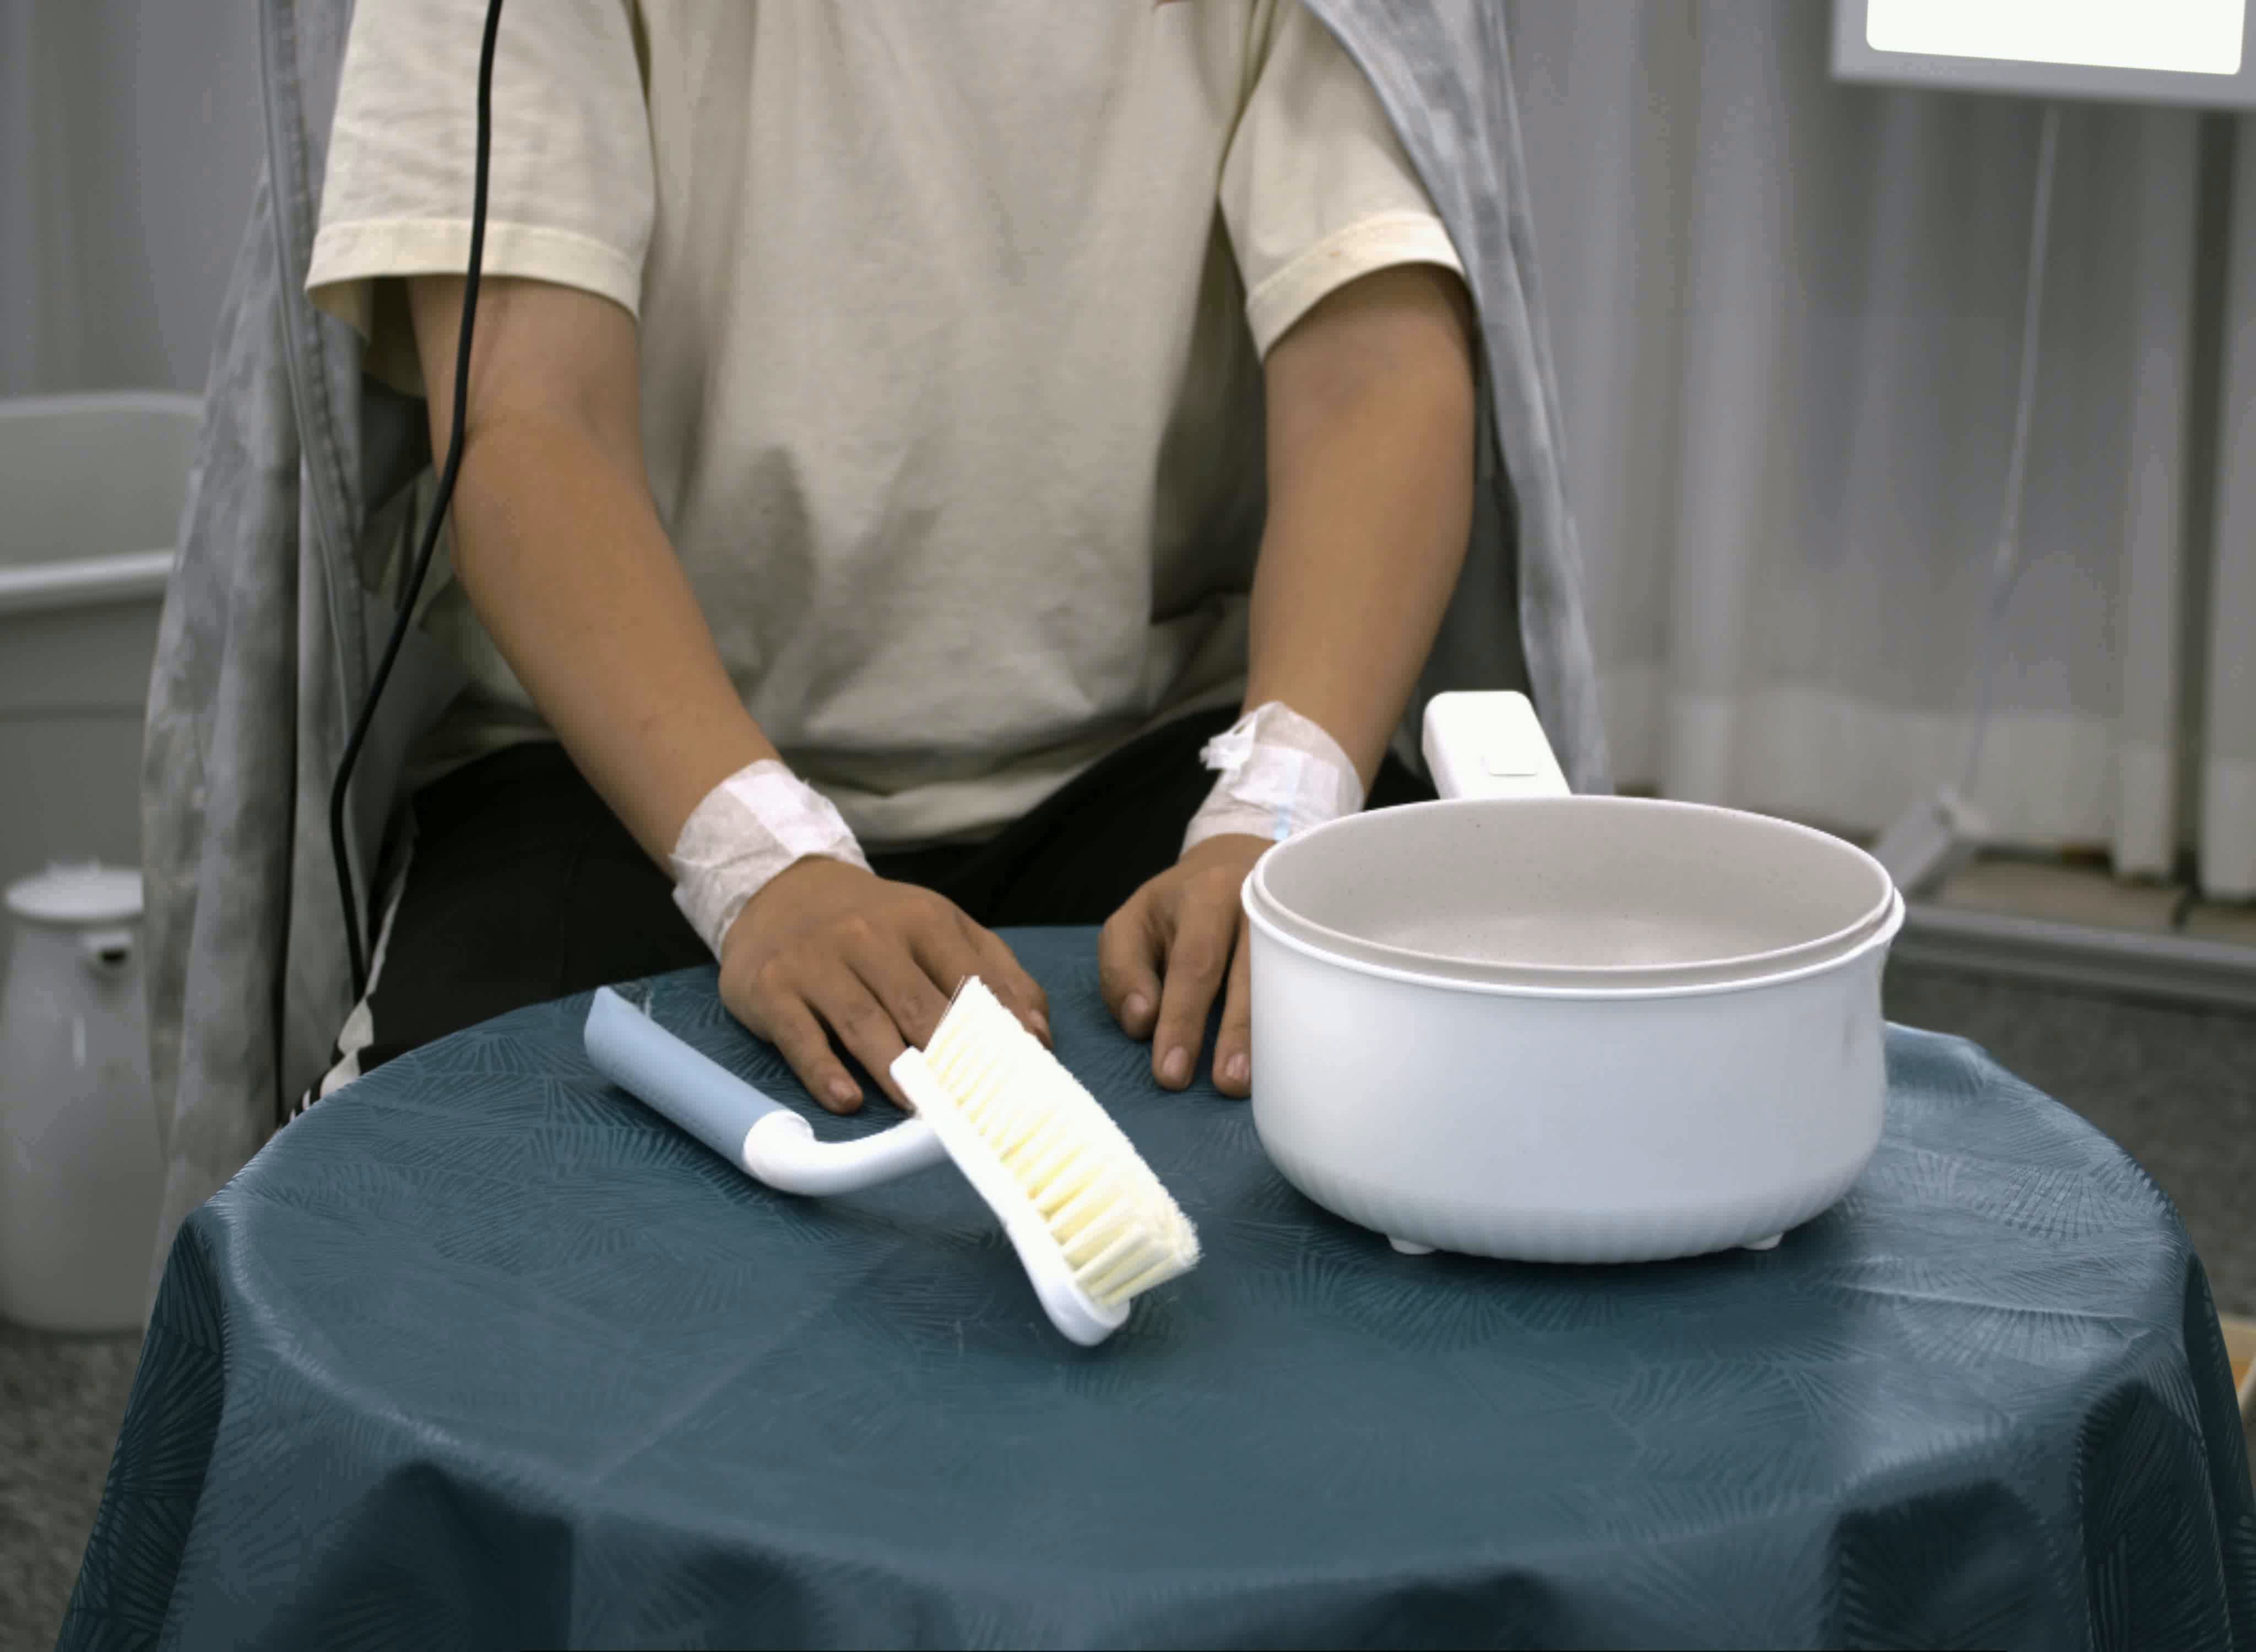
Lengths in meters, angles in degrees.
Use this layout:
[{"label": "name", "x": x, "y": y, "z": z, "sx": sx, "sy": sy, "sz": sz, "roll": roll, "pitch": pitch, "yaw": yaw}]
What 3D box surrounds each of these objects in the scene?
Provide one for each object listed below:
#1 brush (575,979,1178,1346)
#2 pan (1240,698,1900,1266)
[{"label": "brush", "x": -0.076, "y": 0.073, "z": 1.612, "sx": 0.085, "sy": 0.084, "sz": 0.321, "roll": -13, "pitch": 20, "yaw": -27}, {"label": "pan", "x": 0.130, "y": 0.045, "z": 1.690, "sx": 0.201, "sy": 0.103, "sz": 0.352, "roll": -1, "pitch": 15, "yaw": -3}]
